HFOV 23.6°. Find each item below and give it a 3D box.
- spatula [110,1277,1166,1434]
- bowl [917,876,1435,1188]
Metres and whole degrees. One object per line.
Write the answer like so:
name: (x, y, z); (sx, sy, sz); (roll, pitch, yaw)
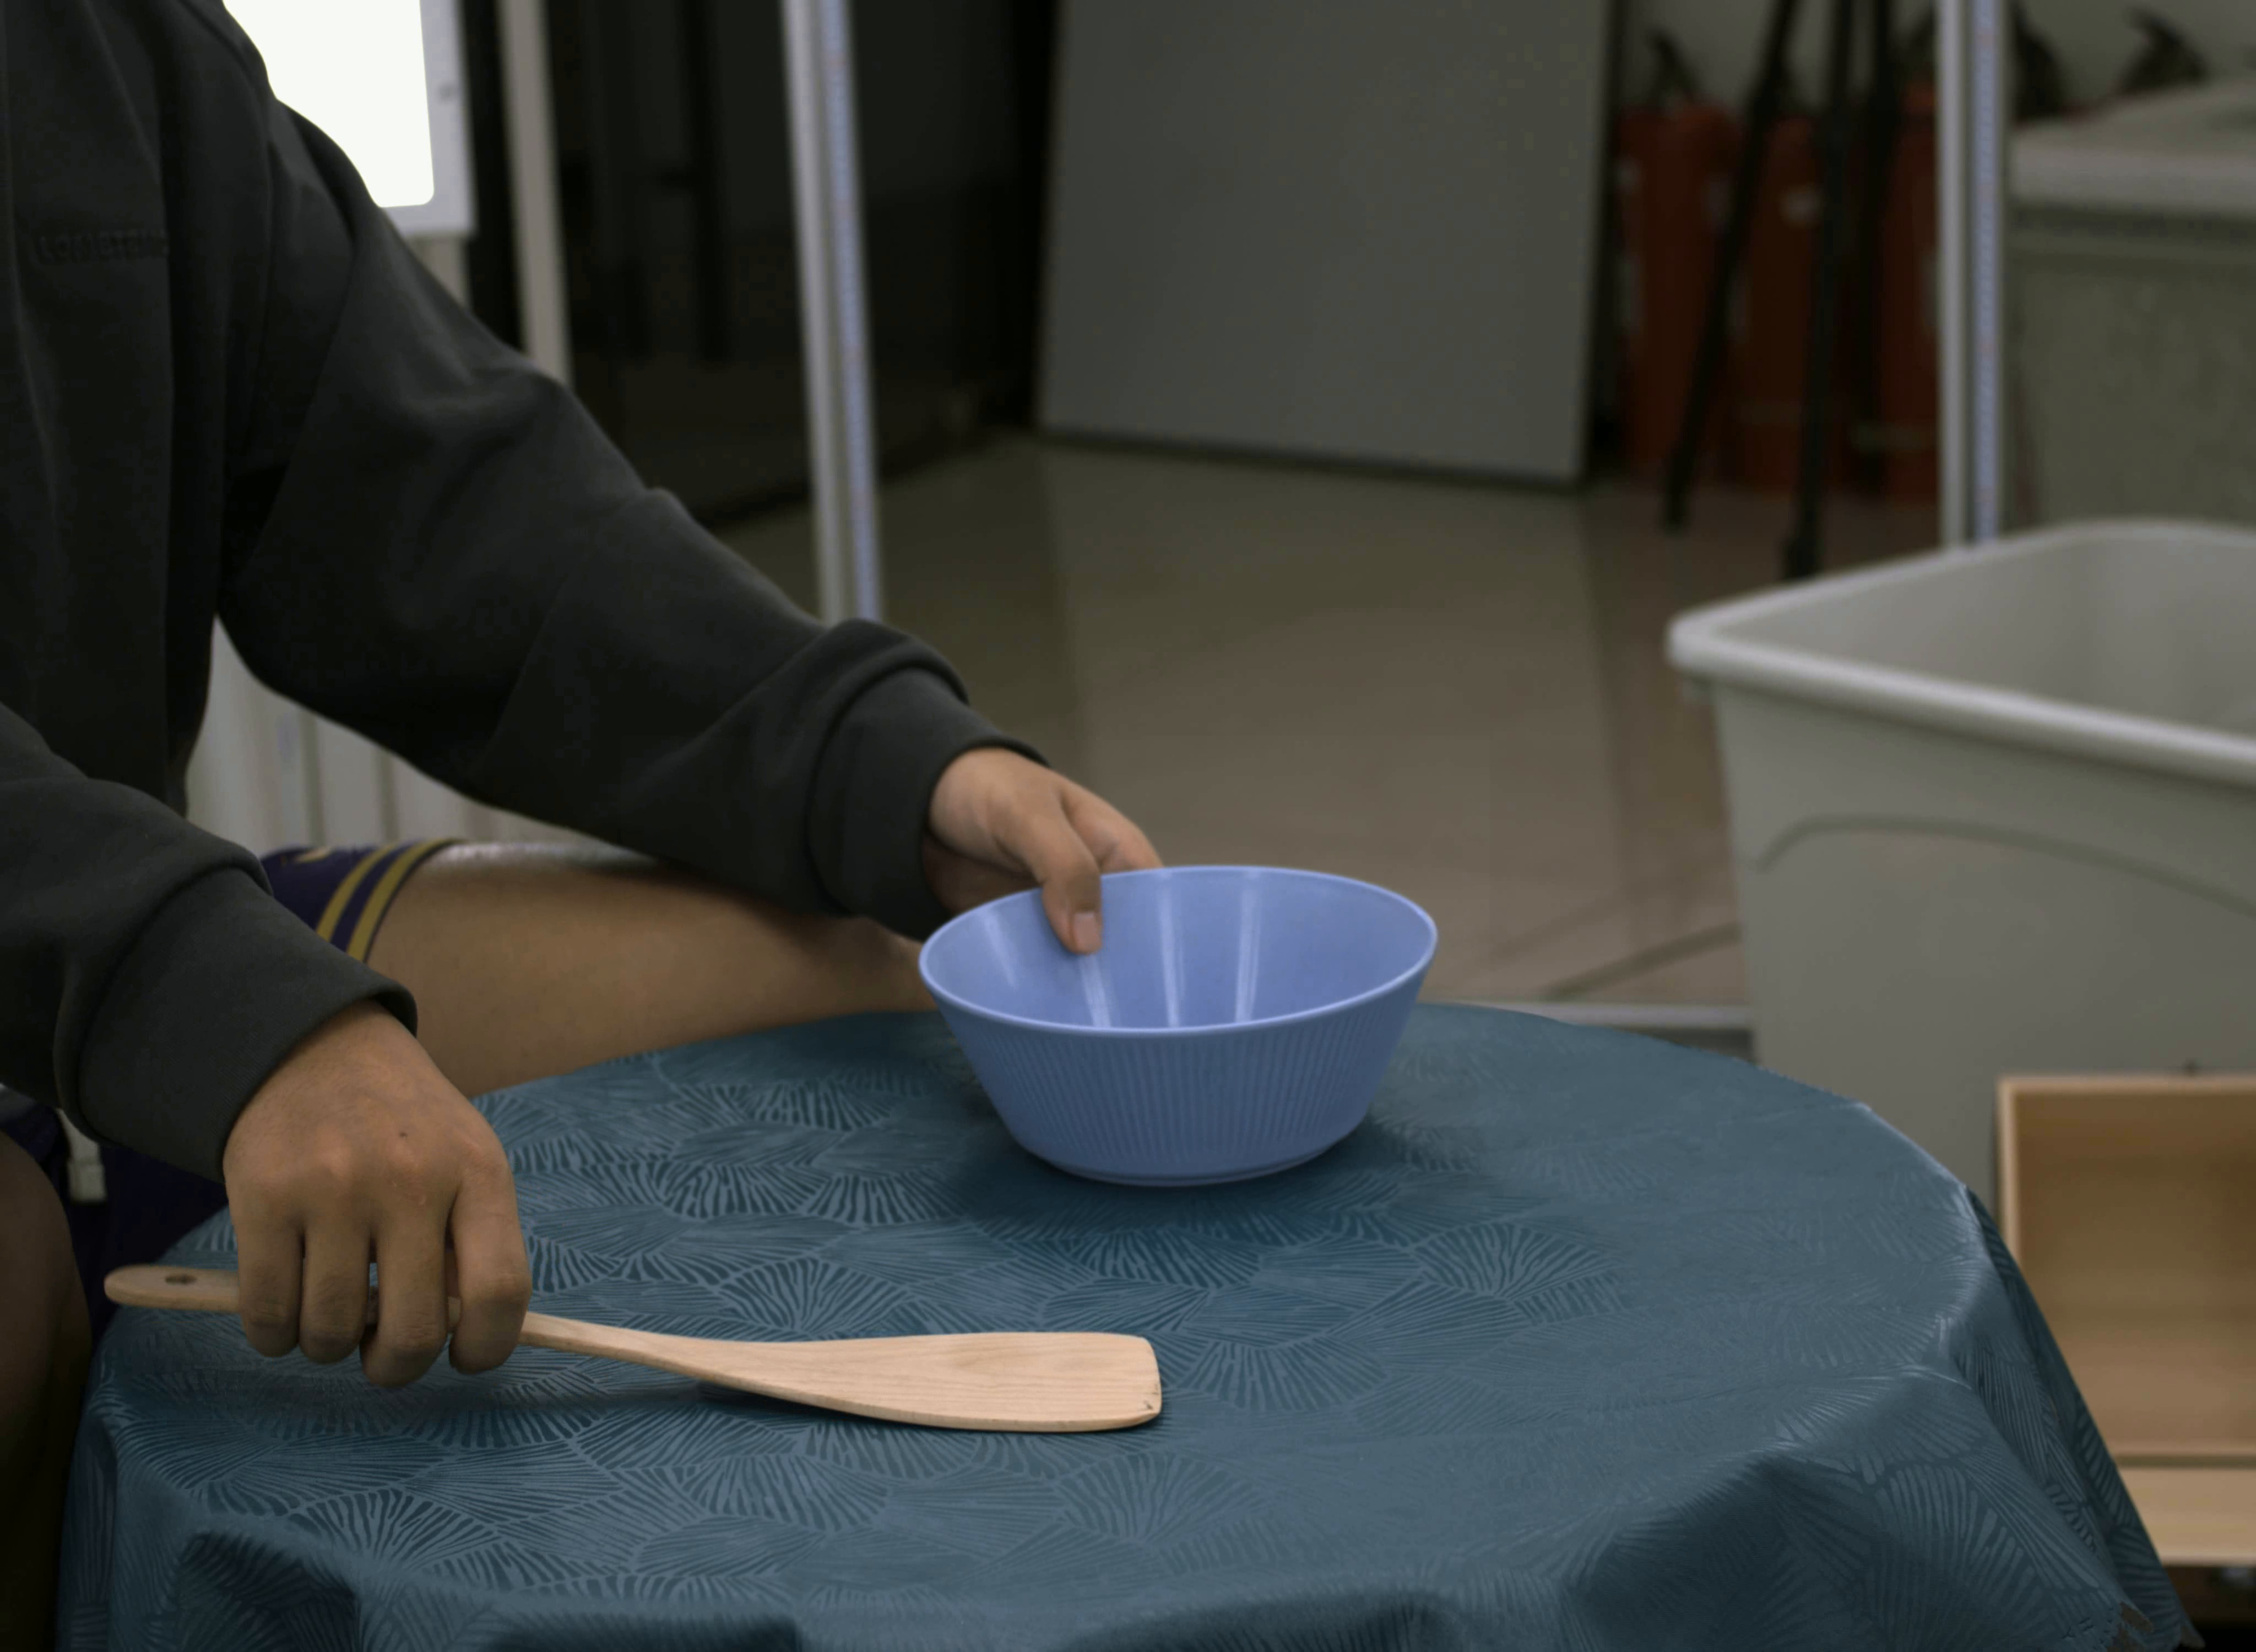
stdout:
spatula: (-0.145, 0.152, 1.609); (0.325, 0.017, 0.079); (6, 15, 9)
bowl: (0.017, 0.072, 1.811); (0.174, 0.071, 0.176); (-4, 16, 0)
